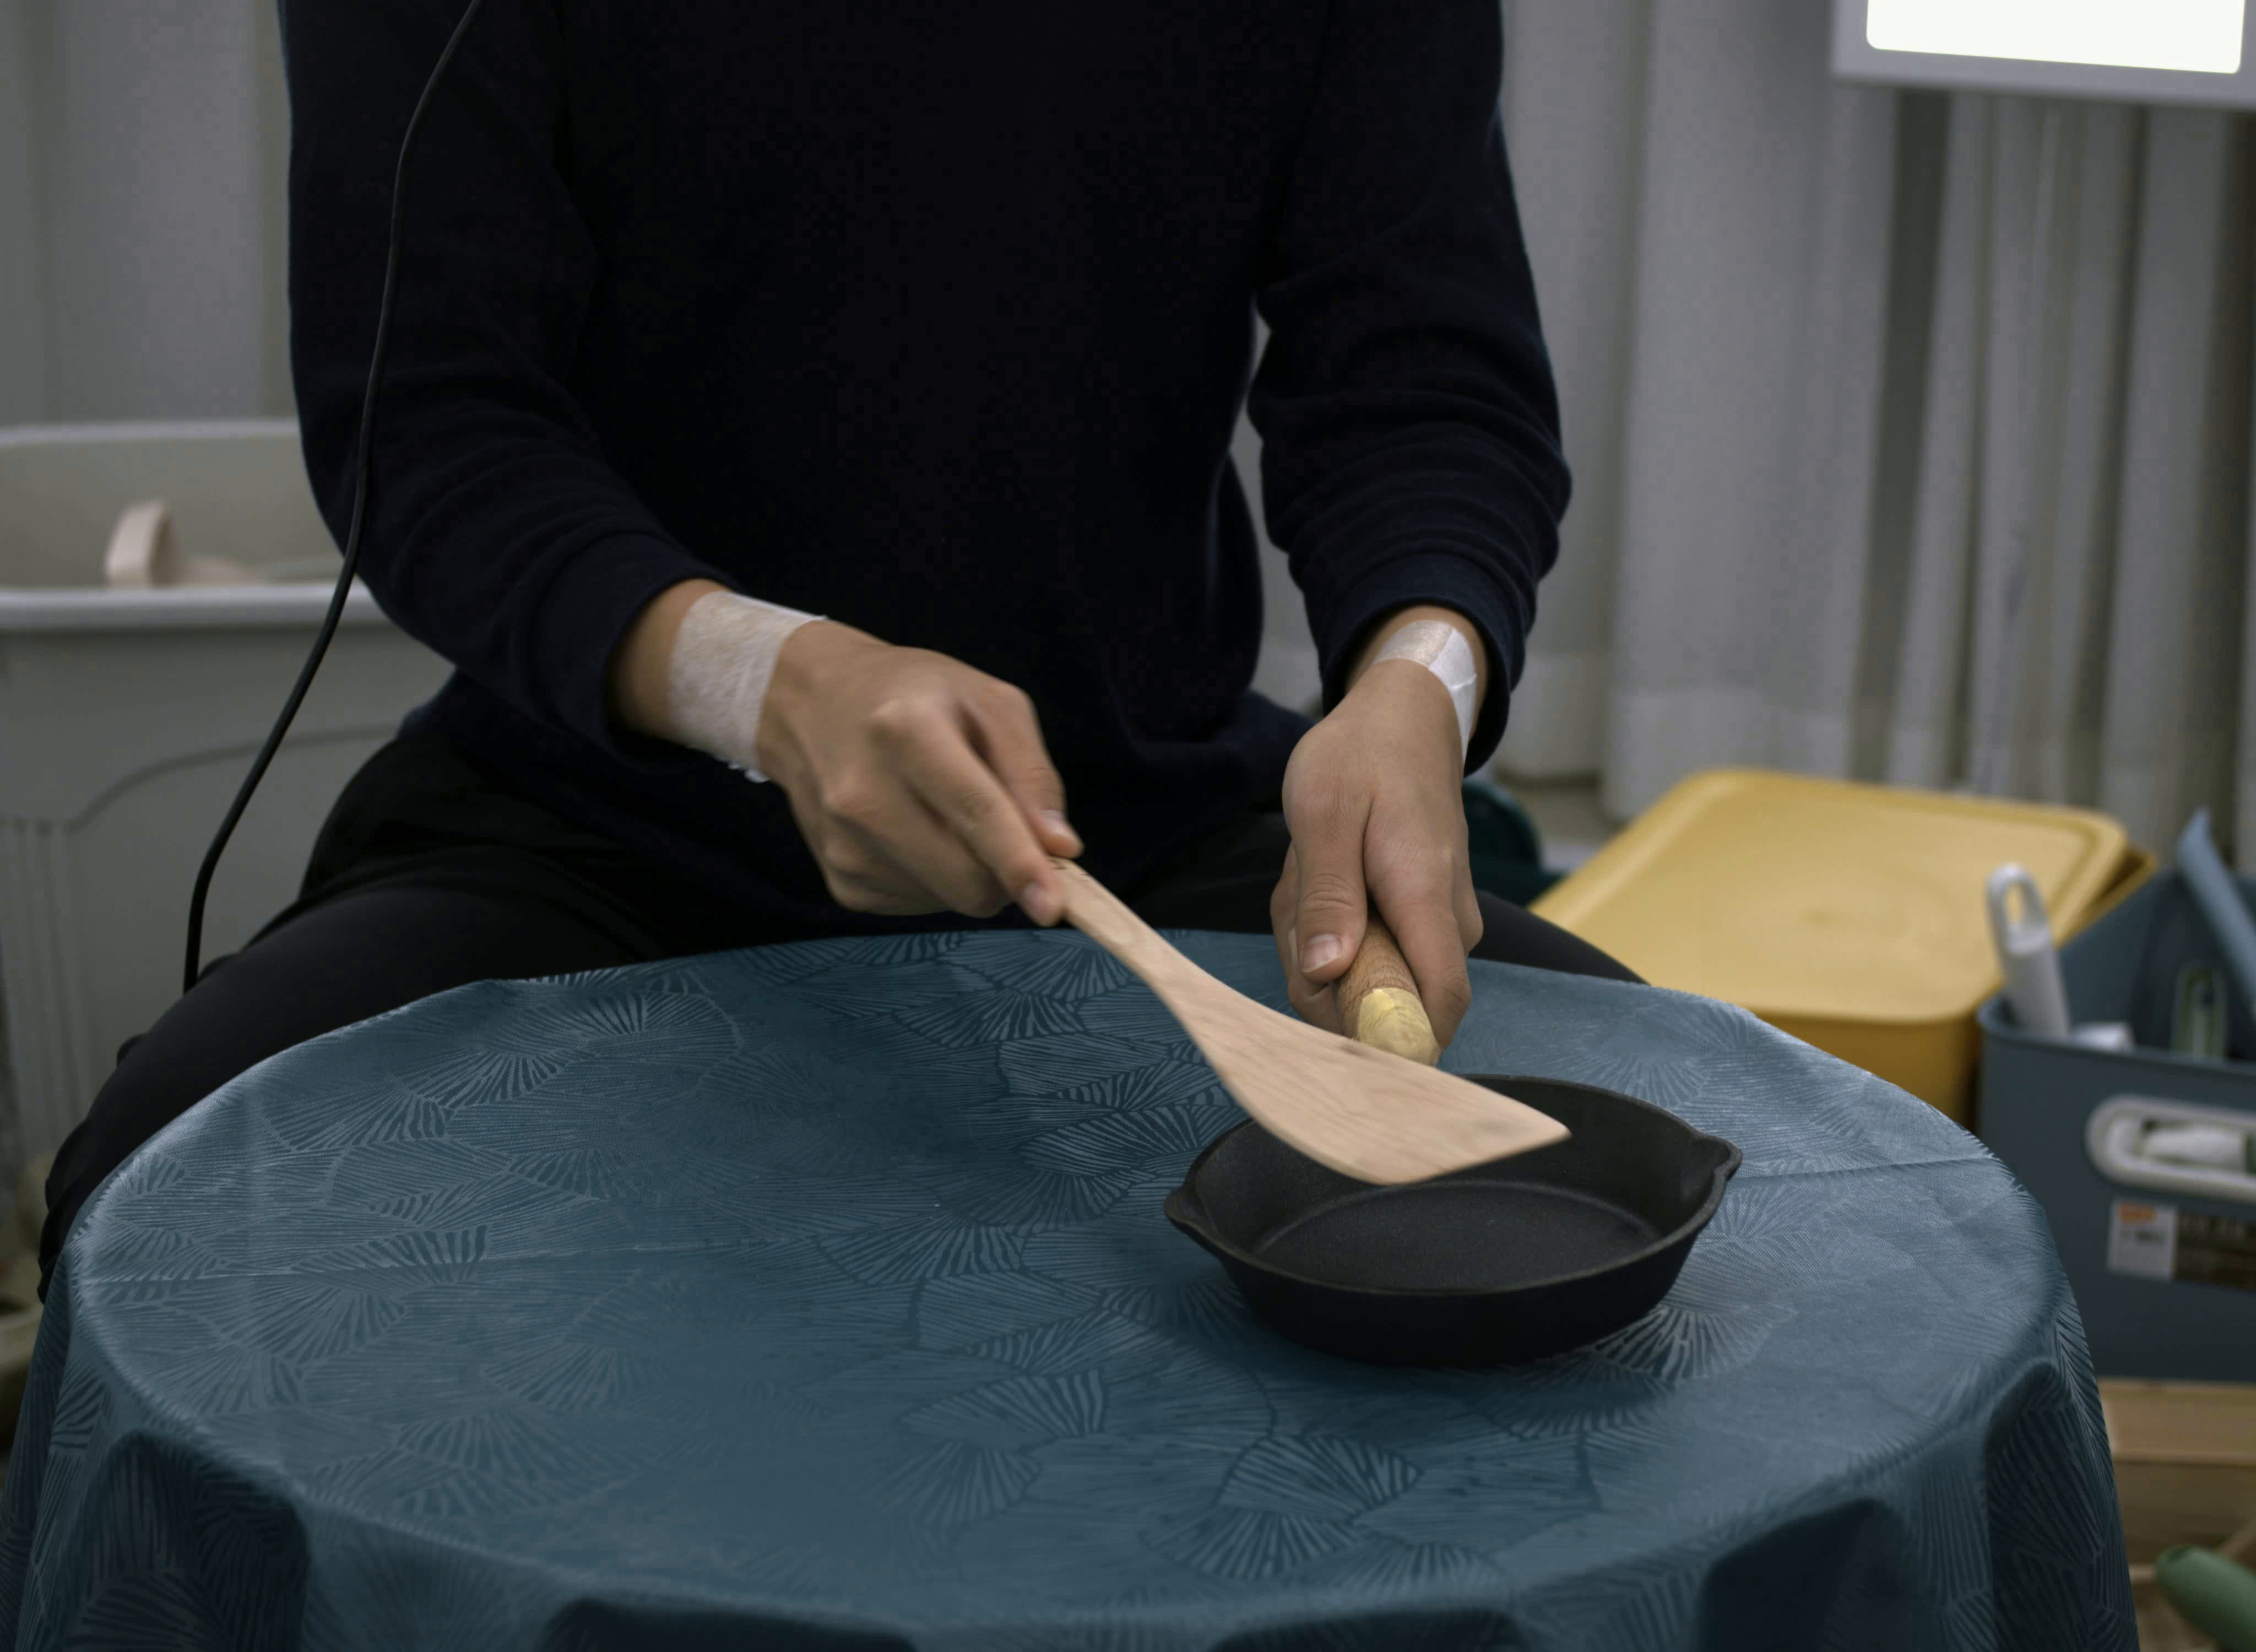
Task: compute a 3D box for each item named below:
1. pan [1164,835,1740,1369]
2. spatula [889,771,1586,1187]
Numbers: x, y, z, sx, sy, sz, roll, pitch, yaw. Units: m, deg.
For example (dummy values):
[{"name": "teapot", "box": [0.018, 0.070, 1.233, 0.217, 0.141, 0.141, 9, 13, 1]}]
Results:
[{"name": "pan", "box": [0.088, 0.080, 1.606, 0.168, 0.050, 0.321, -5, 21, -3]}, {"name": "spatula", "box": [0.019, 0.041, 1.582, 0.080, 0.016, 0.323, -4, 25, -35]}]
